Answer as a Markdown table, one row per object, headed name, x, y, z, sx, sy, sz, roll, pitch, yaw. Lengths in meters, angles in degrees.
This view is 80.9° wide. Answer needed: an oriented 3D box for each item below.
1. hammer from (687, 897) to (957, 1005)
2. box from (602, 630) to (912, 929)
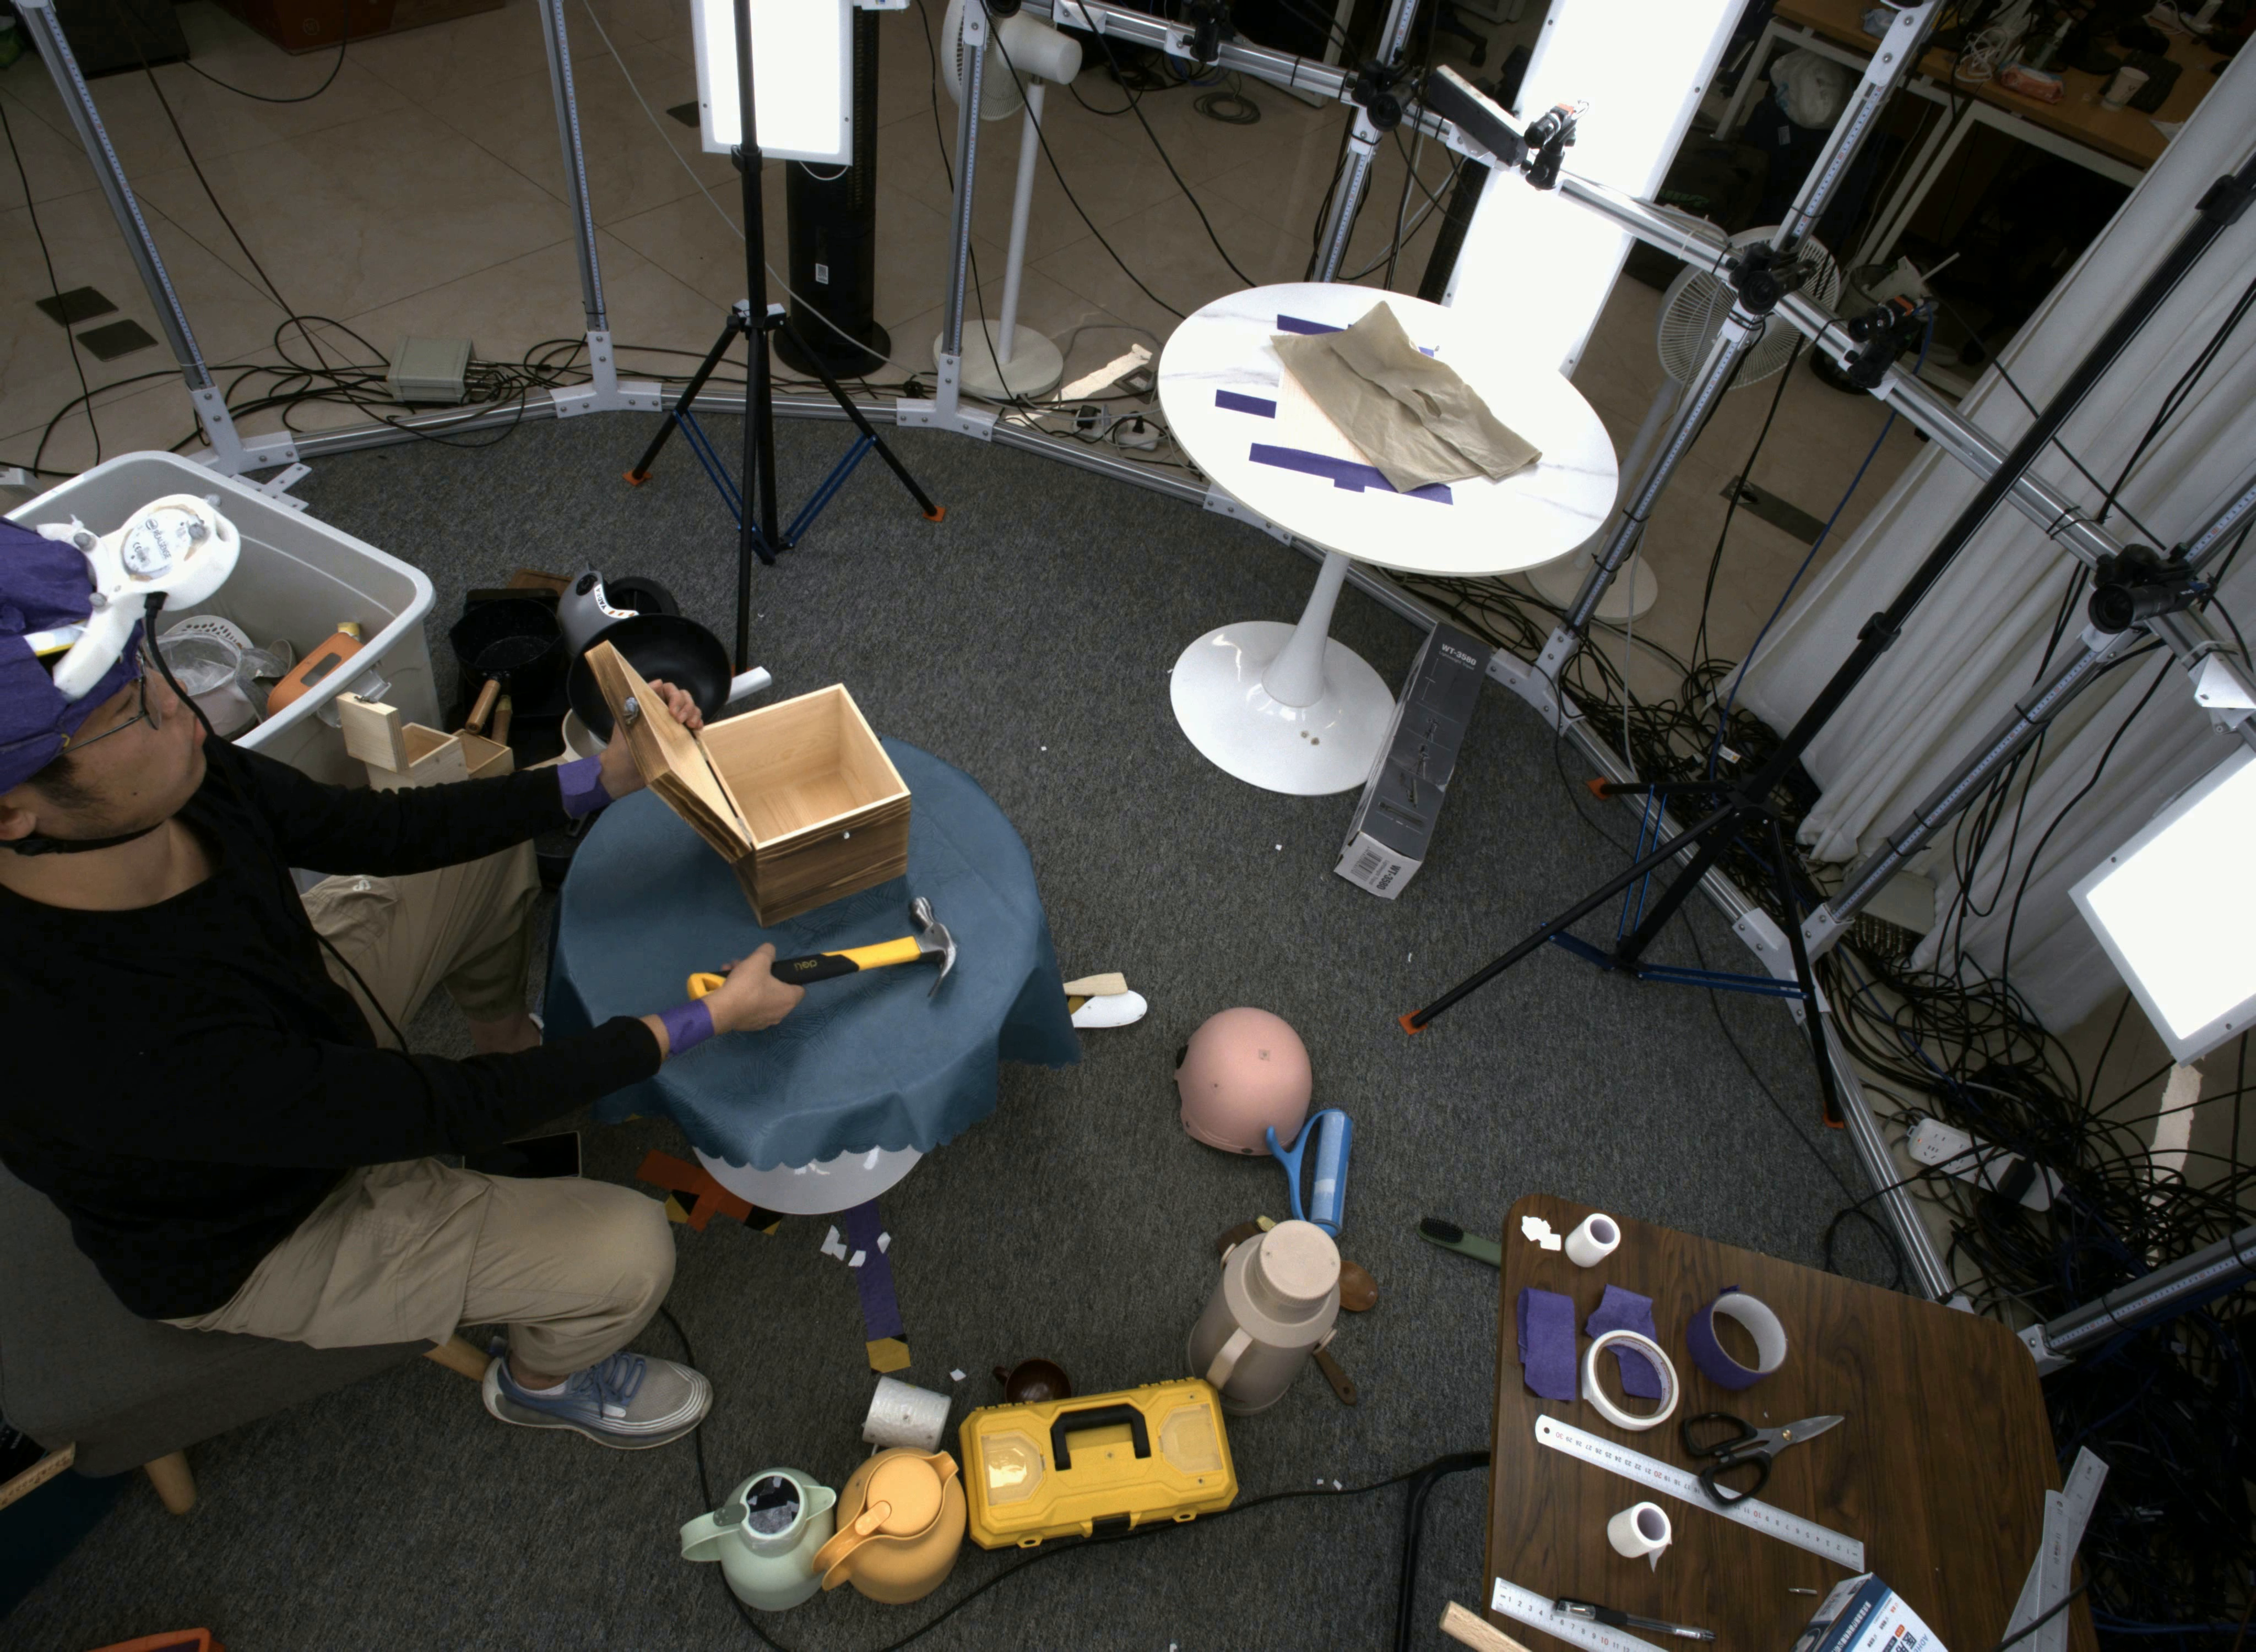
| name | x | y | z | sx | sy | sz | roll | pitch | yaw |
| --- | --- | --- | --- | --- | --- | --- | --- | --- | --- |
| hammer | -0.356 | 0.161 | 1.541 | 0.343 | 0.032 | 0.128 | -7 | 54 | -39 |
| box | -0.438 | -0.072 | 1.536 | 0.324 | 0.383 | 0.203 | -23 | 60 | -27 |
